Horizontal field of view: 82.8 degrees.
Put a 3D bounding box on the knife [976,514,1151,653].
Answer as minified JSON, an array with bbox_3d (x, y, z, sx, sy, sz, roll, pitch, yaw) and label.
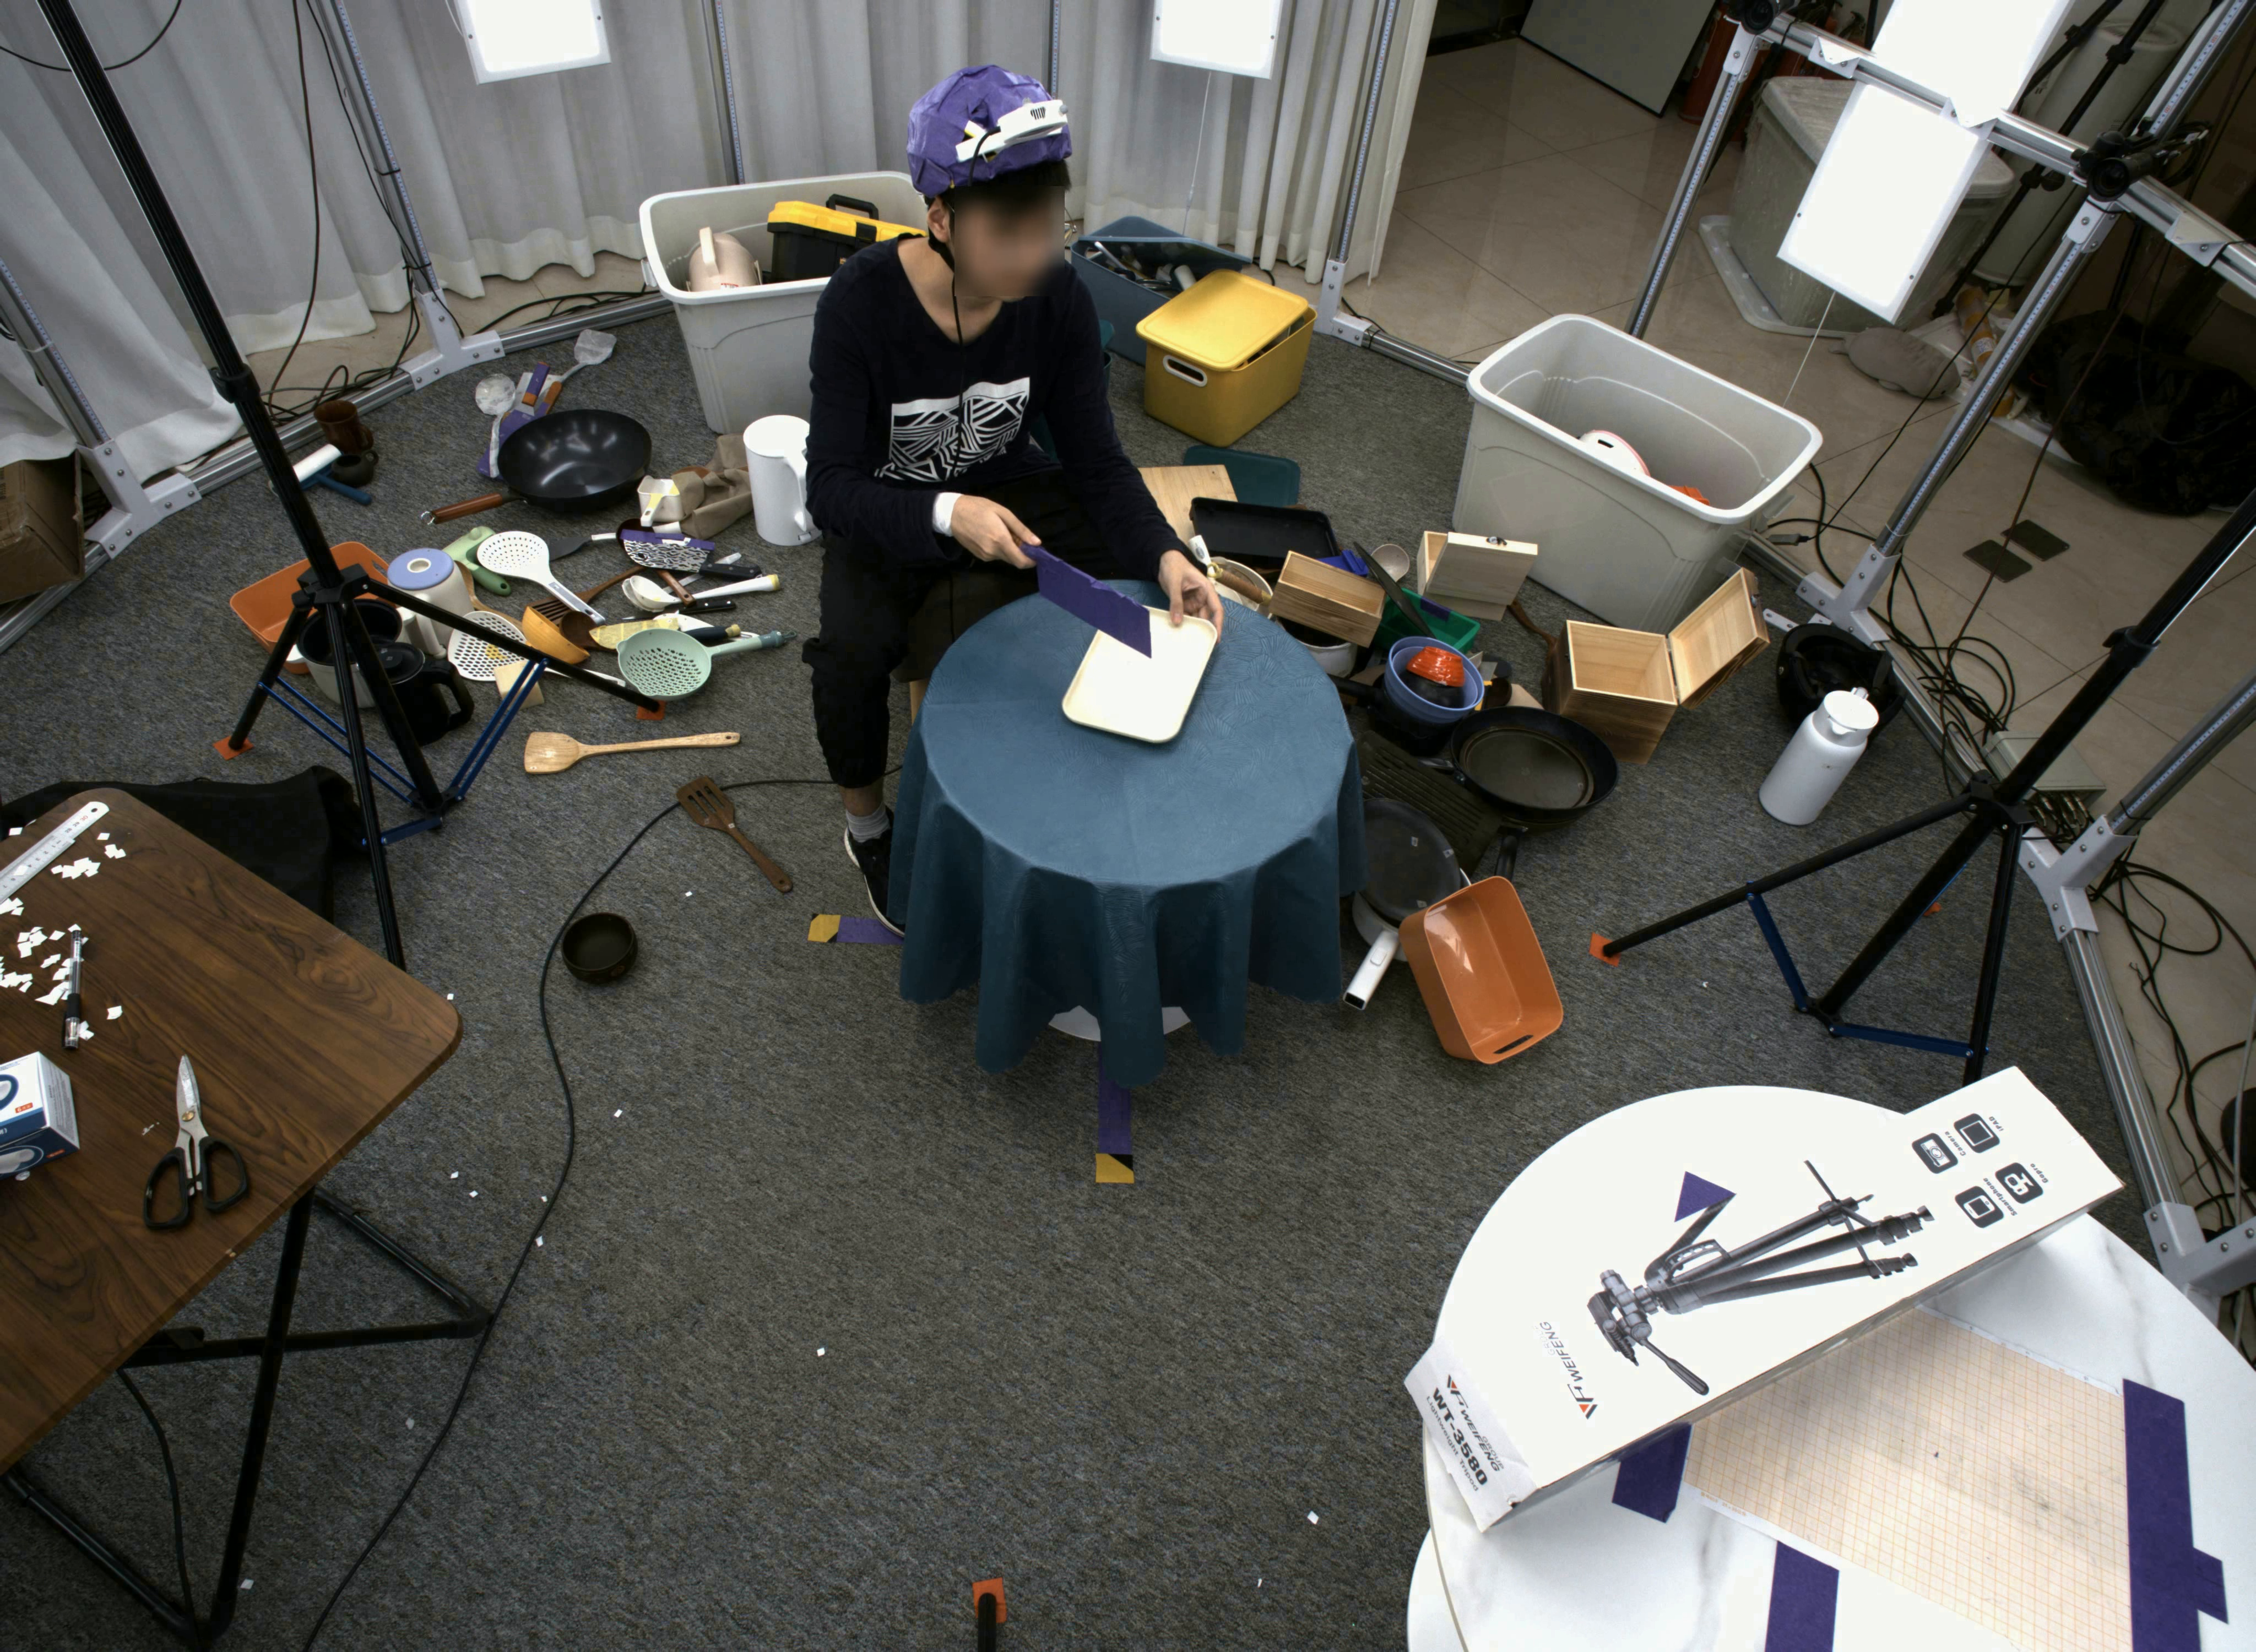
[{"bbox_3d":[-0.090,-0.329,1.769,0.320,0.101,0.032,36,60,29],"label":"knife"}]

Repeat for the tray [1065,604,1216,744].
[{"bbox_3d":[0.021,-0.219,1.833,0.172,0.017,0.244,14,55,11],"label":"tray"}]
